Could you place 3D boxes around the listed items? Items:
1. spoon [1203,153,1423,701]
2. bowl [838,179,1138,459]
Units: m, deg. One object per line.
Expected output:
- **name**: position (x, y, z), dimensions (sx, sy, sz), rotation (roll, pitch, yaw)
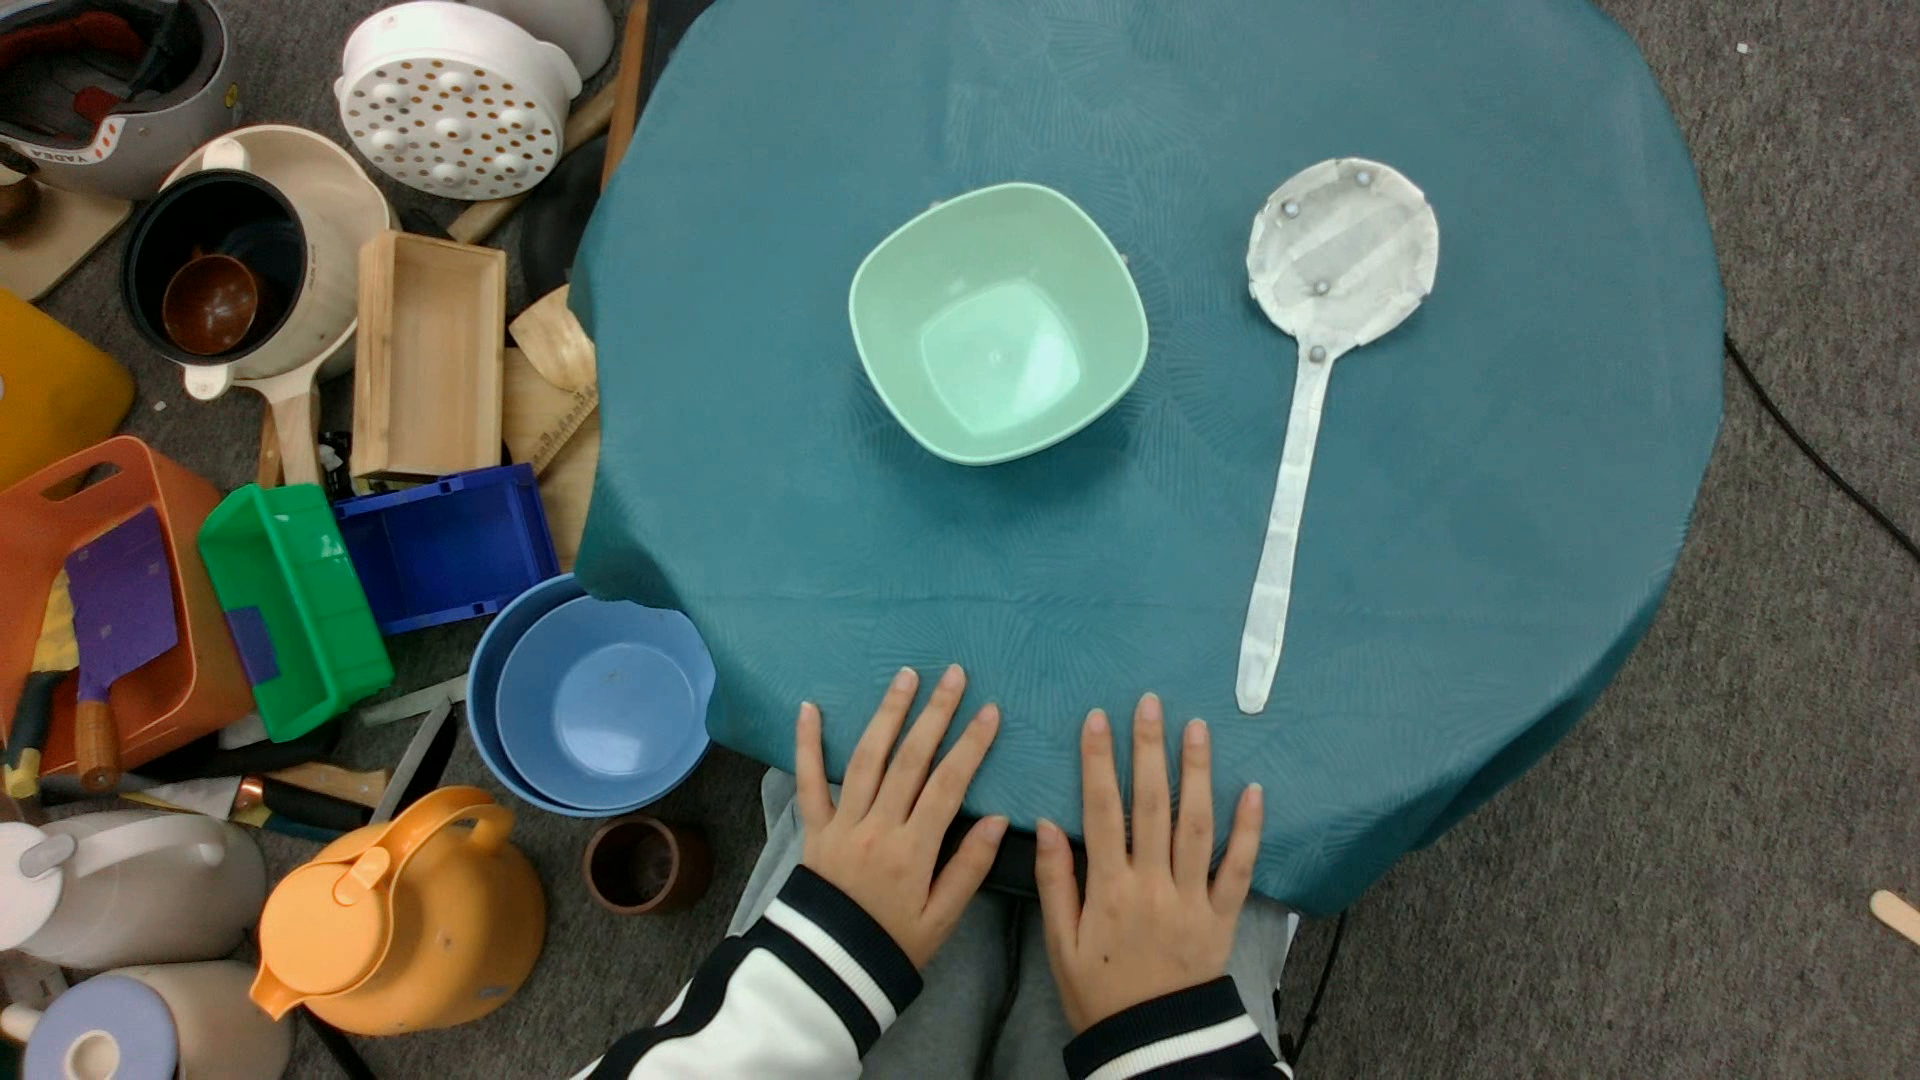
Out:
- **spoon**: position (0.157, -0.058, 0.684), dimensions (0.100, 0.059, 0.278), rotation (14, 76, 11)
- **bowl**: position (0.015, -0.105, 0.706), dimensions (0.151, 0.058, 0.152), rotation (-1, 75, 3)
